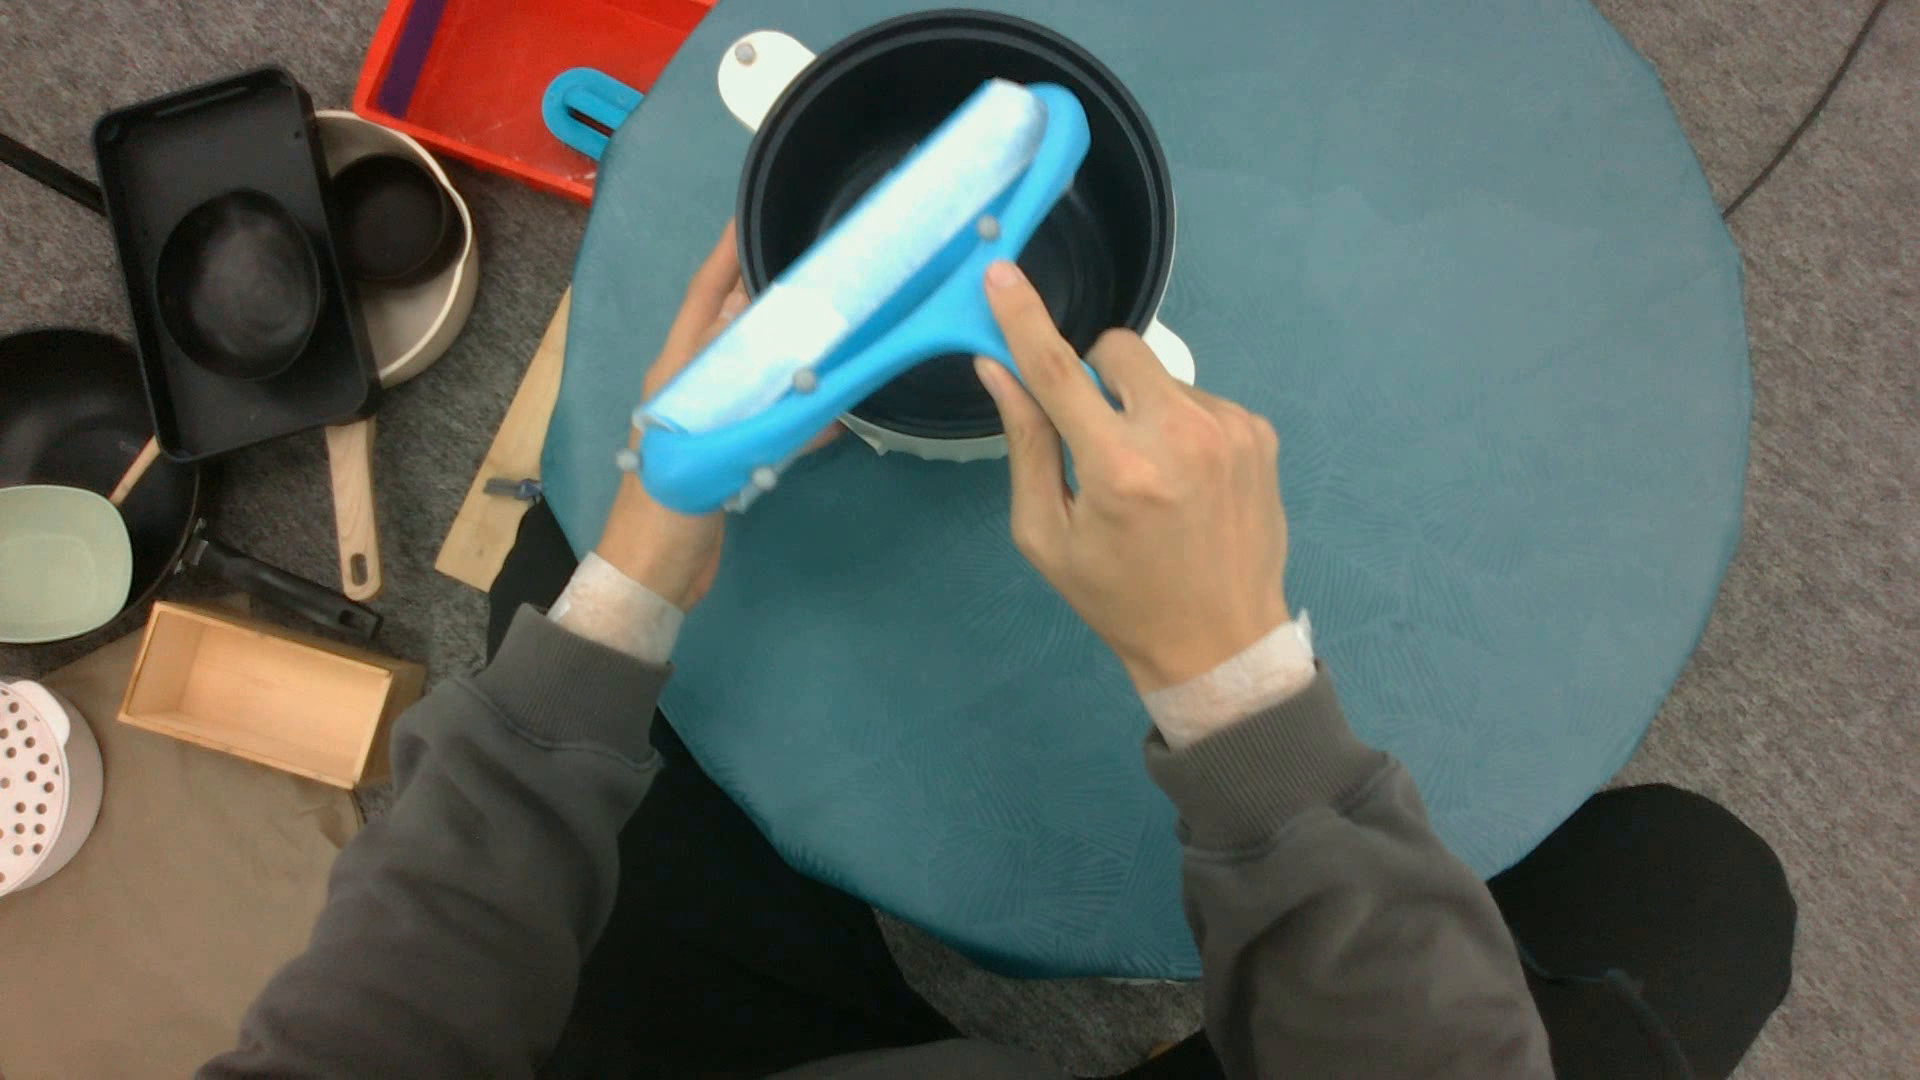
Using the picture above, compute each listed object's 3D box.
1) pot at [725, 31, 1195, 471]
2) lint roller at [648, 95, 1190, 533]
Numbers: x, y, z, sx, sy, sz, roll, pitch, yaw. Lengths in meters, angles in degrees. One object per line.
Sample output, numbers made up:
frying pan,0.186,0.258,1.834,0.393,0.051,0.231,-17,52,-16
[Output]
pot,0.004,-0.127,0.645,0.240,0.142,0.190,37,90,3
lint roller,0.009,-0.067,0.516,0.180,0.067,0.229,31,69,27
